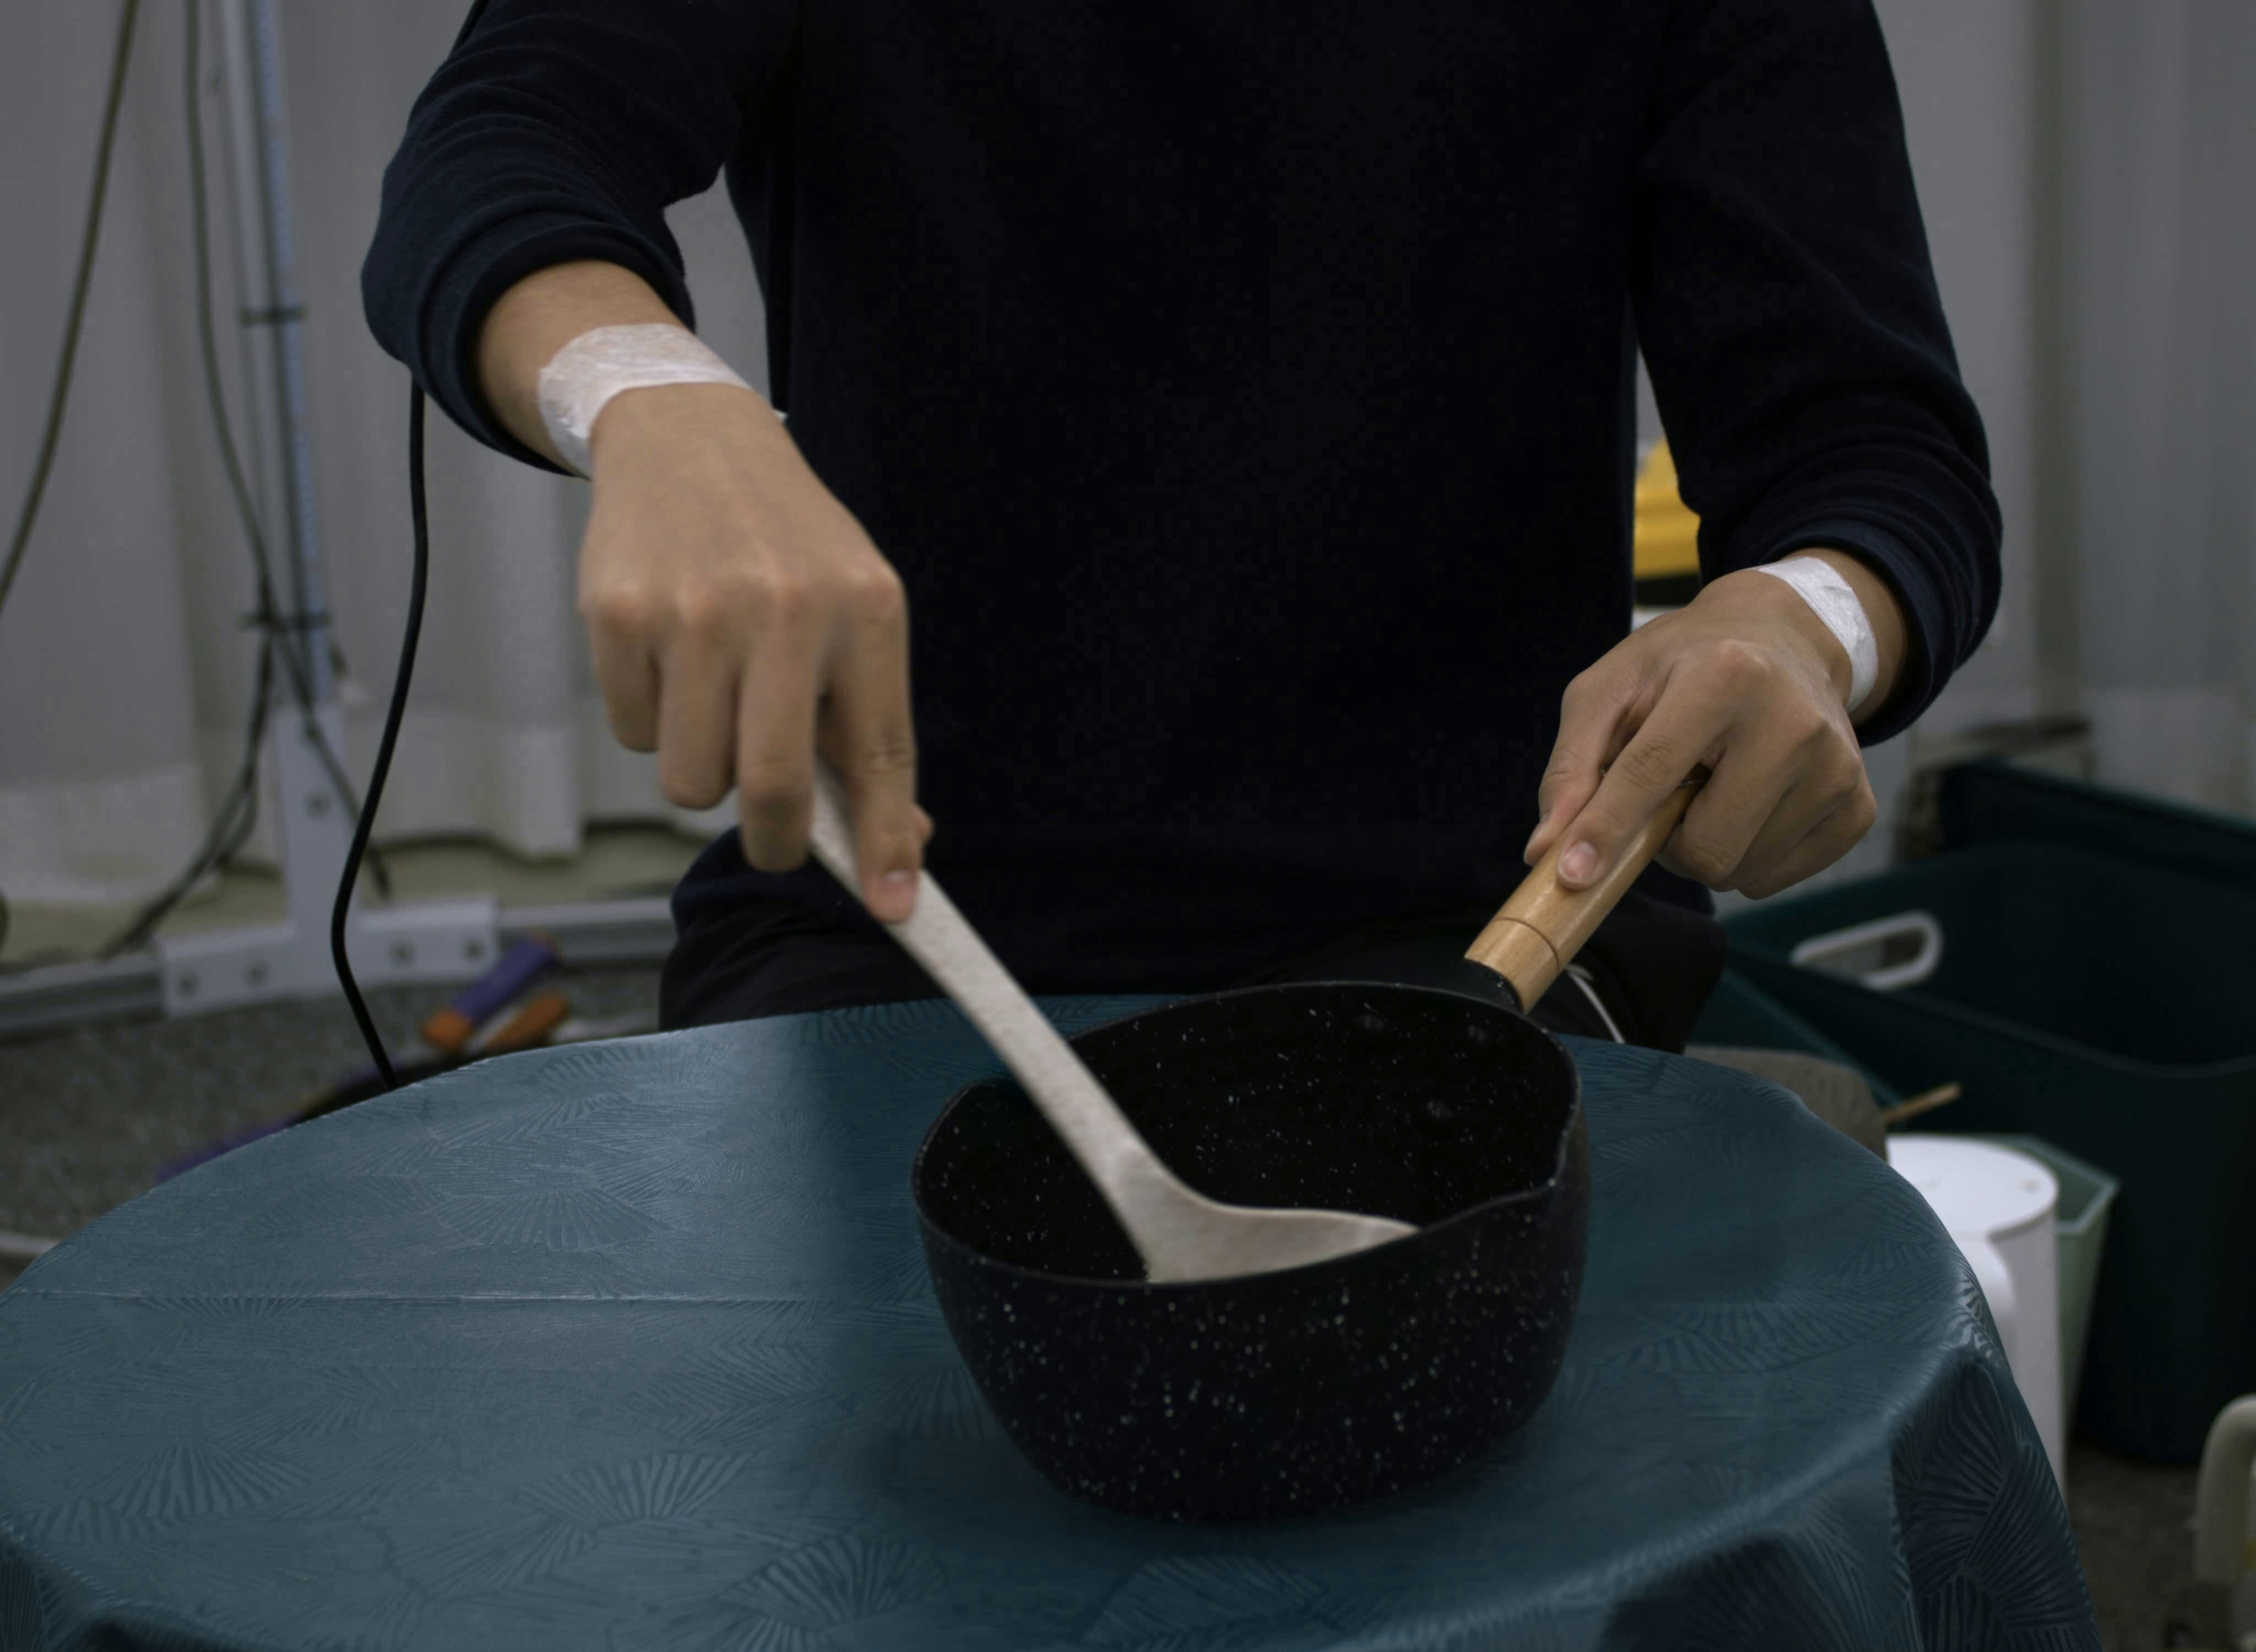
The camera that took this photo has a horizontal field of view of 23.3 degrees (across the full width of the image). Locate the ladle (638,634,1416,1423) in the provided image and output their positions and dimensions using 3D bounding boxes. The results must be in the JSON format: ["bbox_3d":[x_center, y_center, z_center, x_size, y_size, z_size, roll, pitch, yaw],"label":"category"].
[{"bbox_3d":[-0.025,0.044,1.448,0.069,0.275,0.090,-38,1,45],"label":"ladle"}]

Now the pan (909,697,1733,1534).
[{"bbox_3d":[0.081,0.077,1.547,0.208,0.107,0.344,5,27,36],"label":"pan"}]
